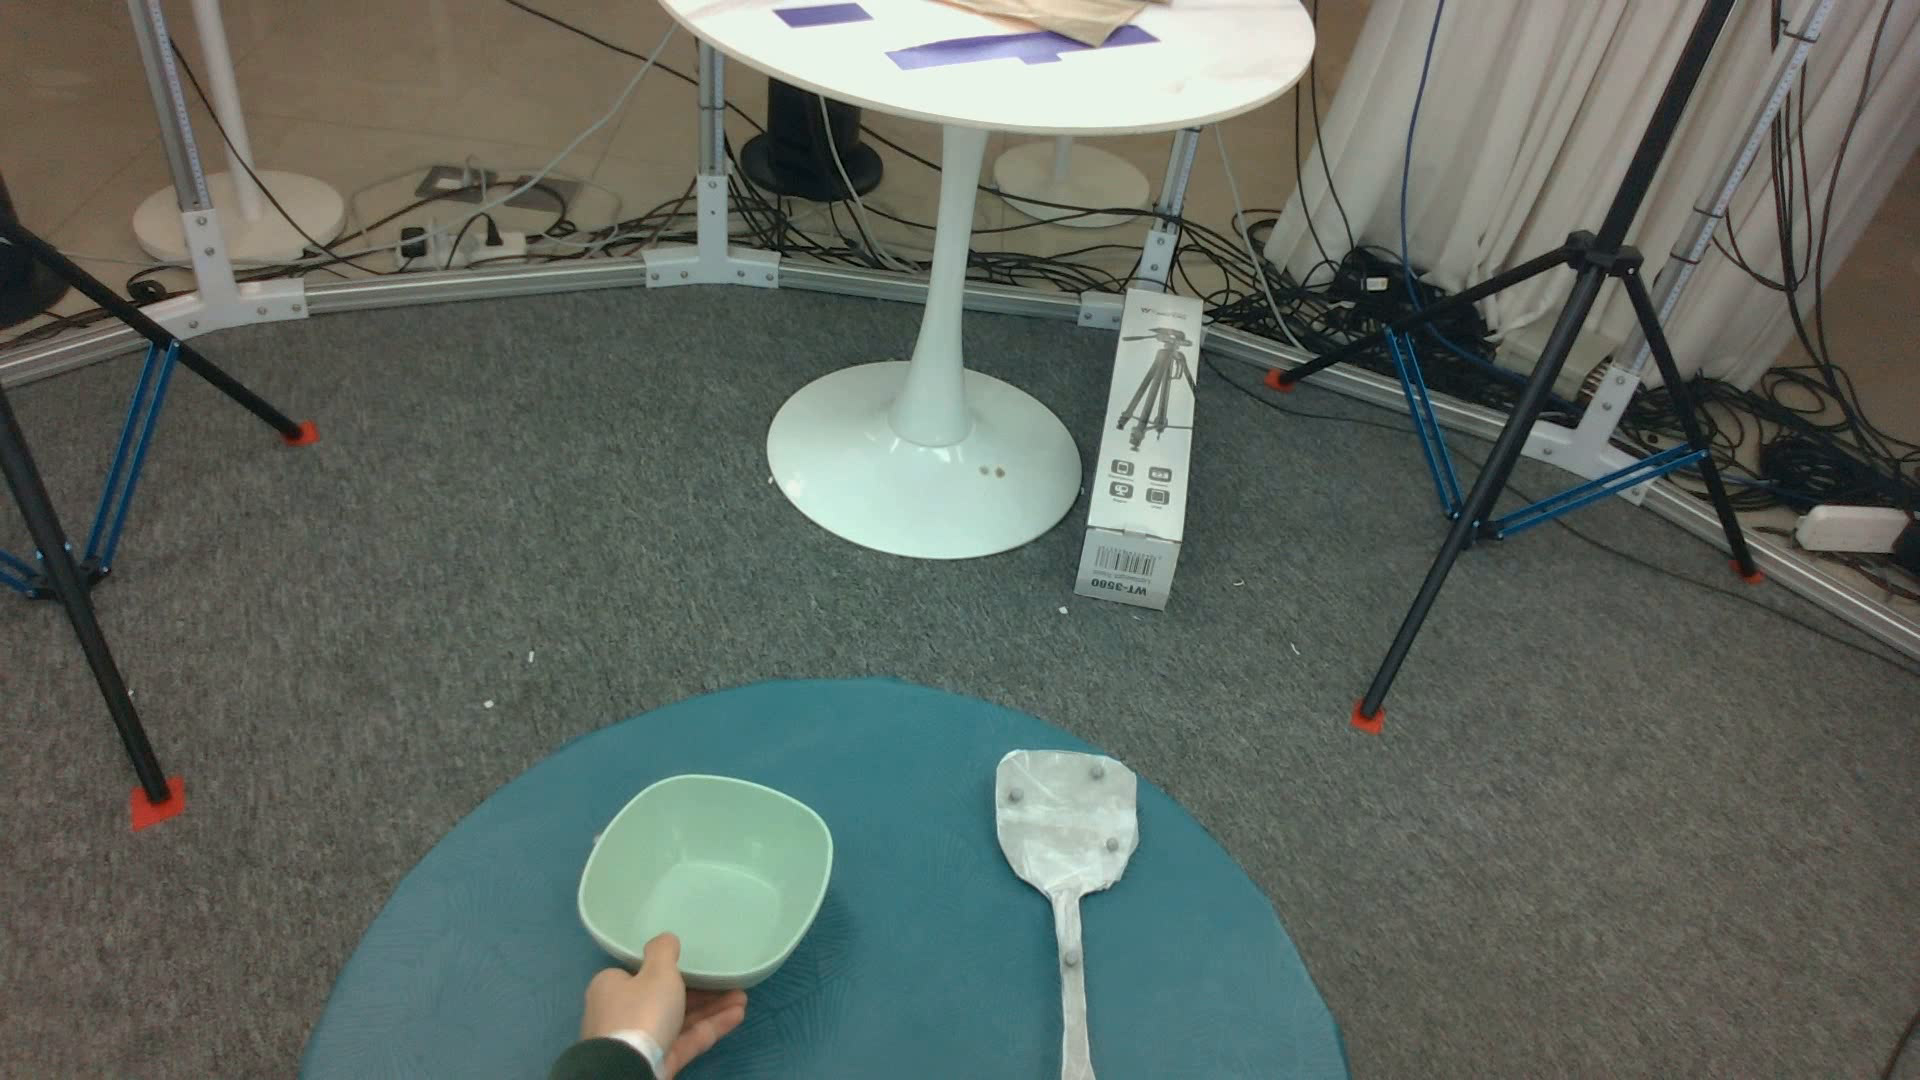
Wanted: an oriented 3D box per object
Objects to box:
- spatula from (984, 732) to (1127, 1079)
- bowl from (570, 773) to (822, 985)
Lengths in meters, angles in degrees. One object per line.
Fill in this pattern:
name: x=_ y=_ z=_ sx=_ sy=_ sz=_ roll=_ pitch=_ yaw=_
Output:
spatula: x=0.058 y=0.259 z=0.817 sx=0.099 sy=0.044 sz=0.366 roll=8 pitch=36 yaw=-4
bowl: x=-0.155 y=0.211 z=0.826 sx=0.151 sy=0.058 sz=0.152 roll=4 pitch=37 yaw=-3
